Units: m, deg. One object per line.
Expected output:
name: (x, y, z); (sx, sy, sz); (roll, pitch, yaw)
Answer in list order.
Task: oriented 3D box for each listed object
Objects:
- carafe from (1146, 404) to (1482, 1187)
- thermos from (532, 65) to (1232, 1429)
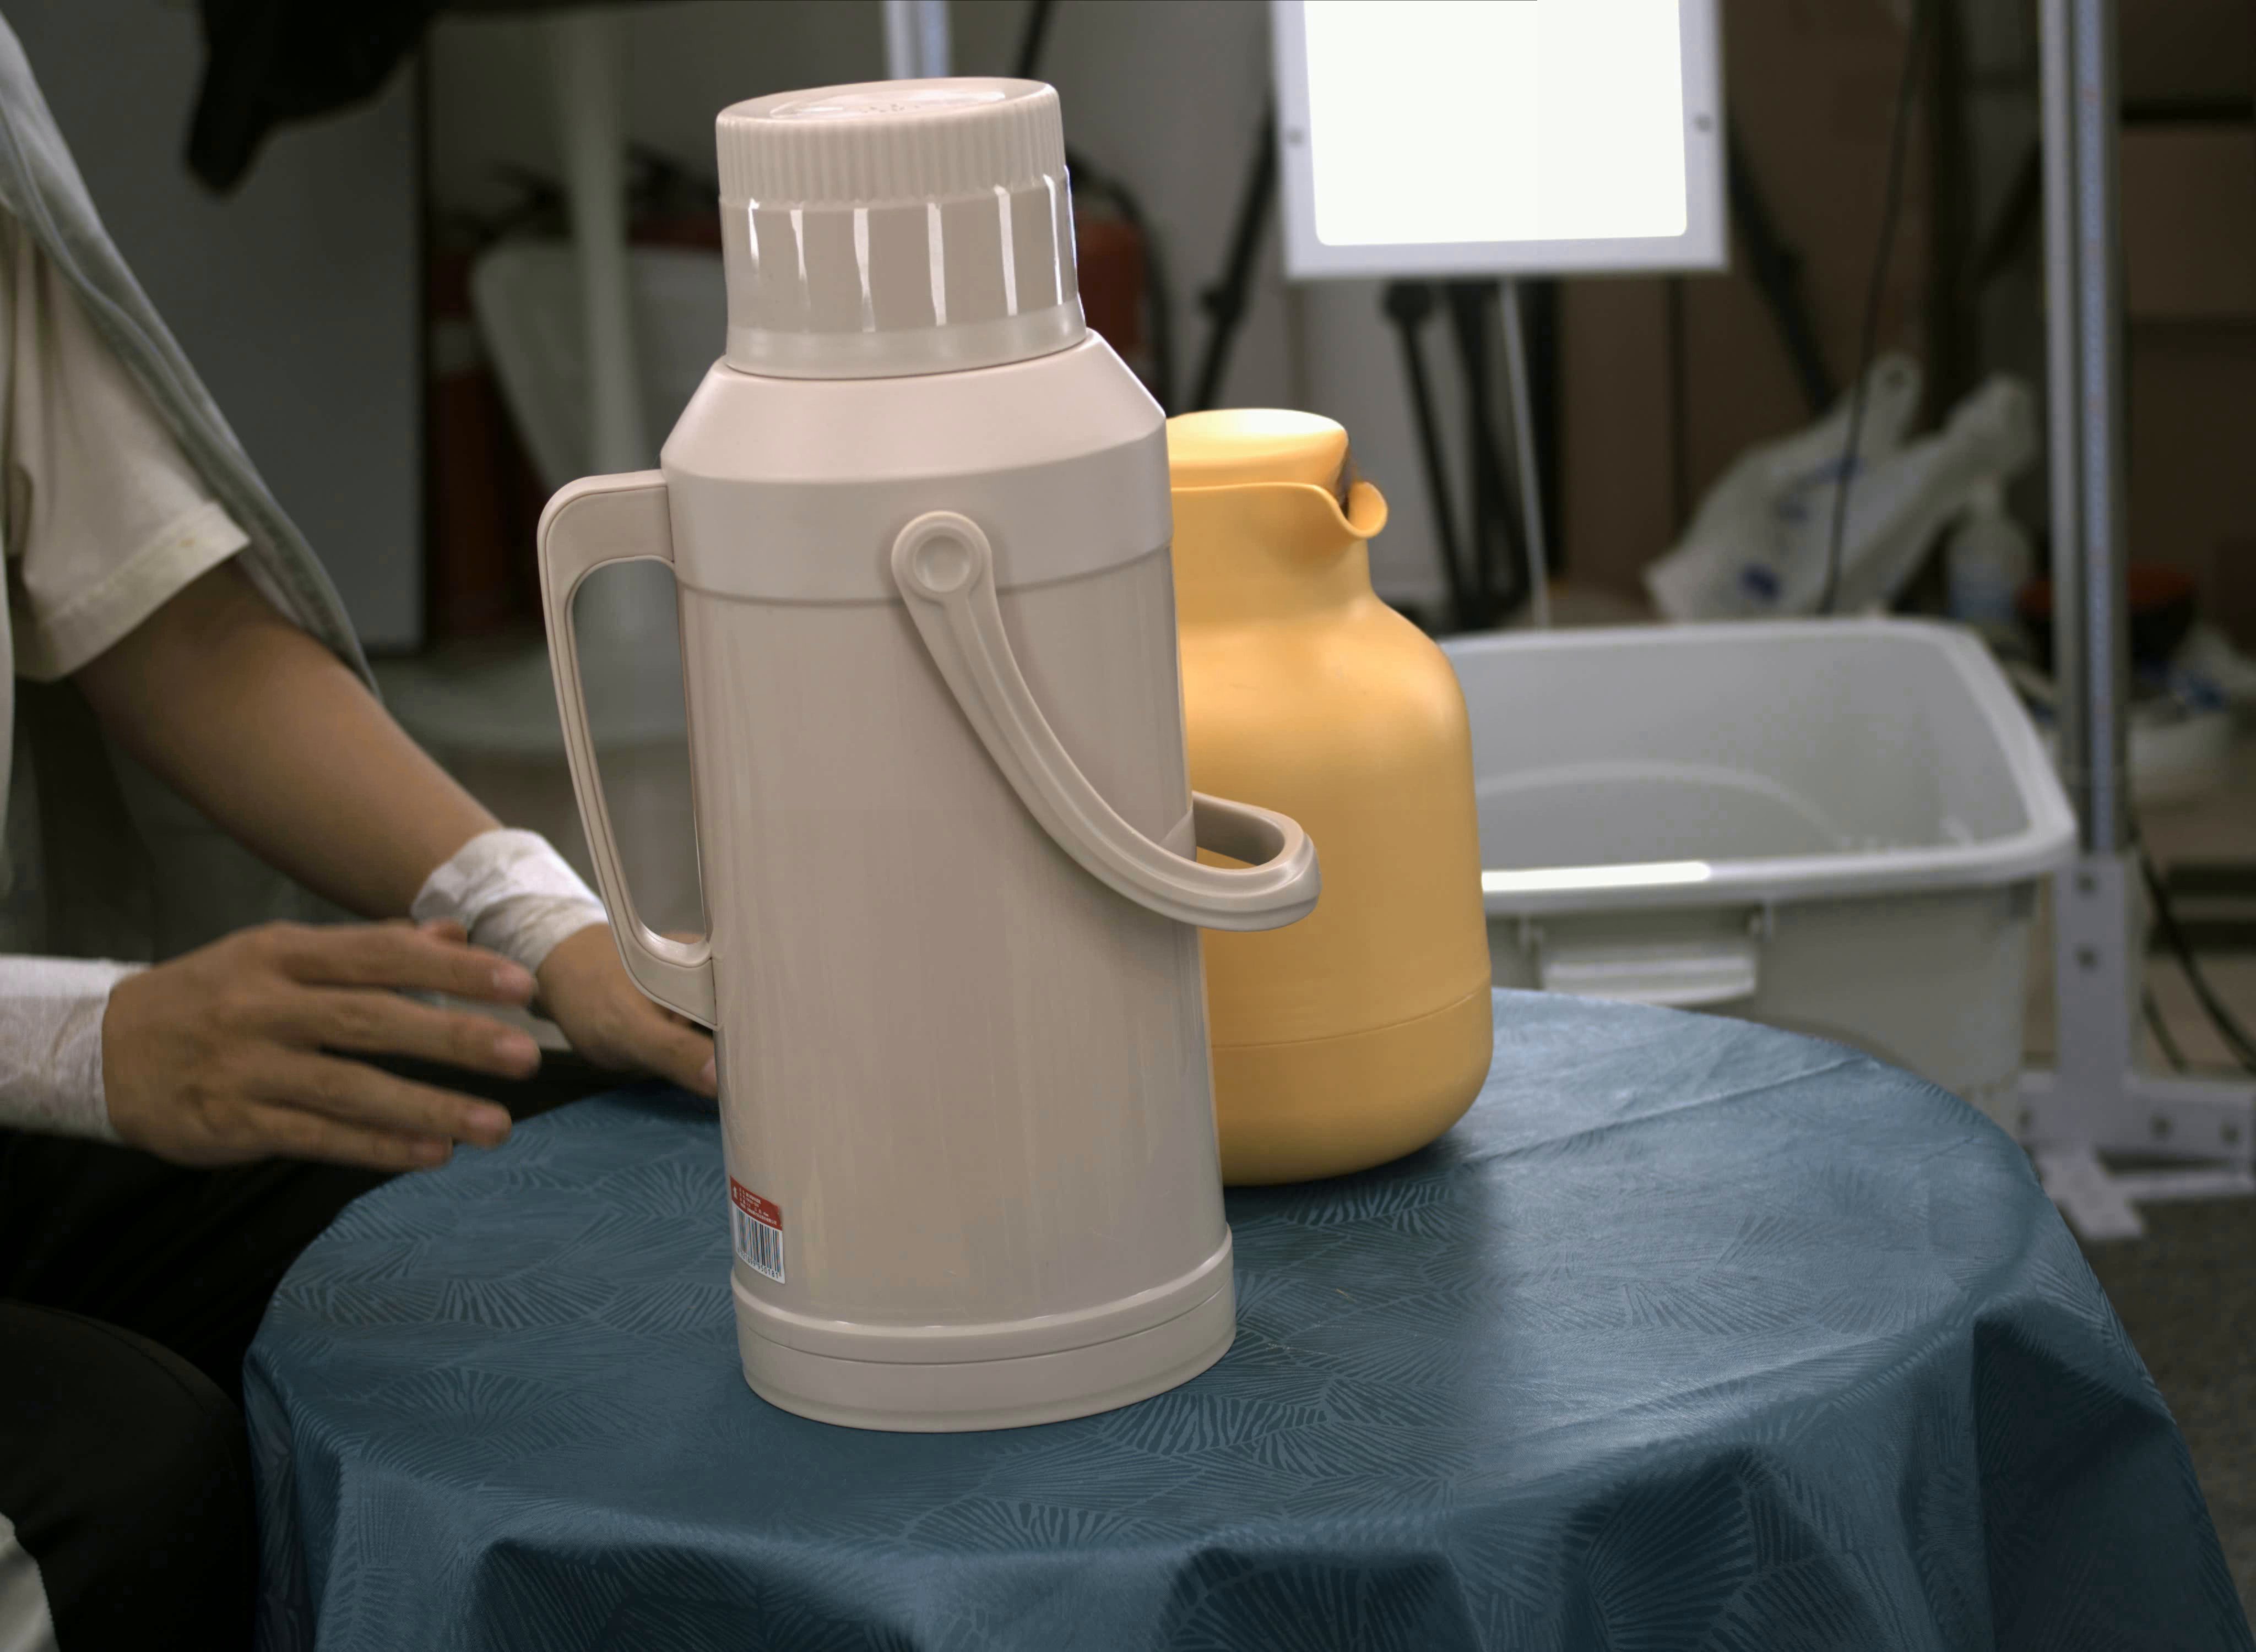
carafe: (0.028, -0.018, 1.926); (0.159, 0.261, 0.206); (-12, 17, -36)
thermos: (-0.075, -0.026, 1.706); (0.206, 0.408, 0.175); (-5, 15, -3)
